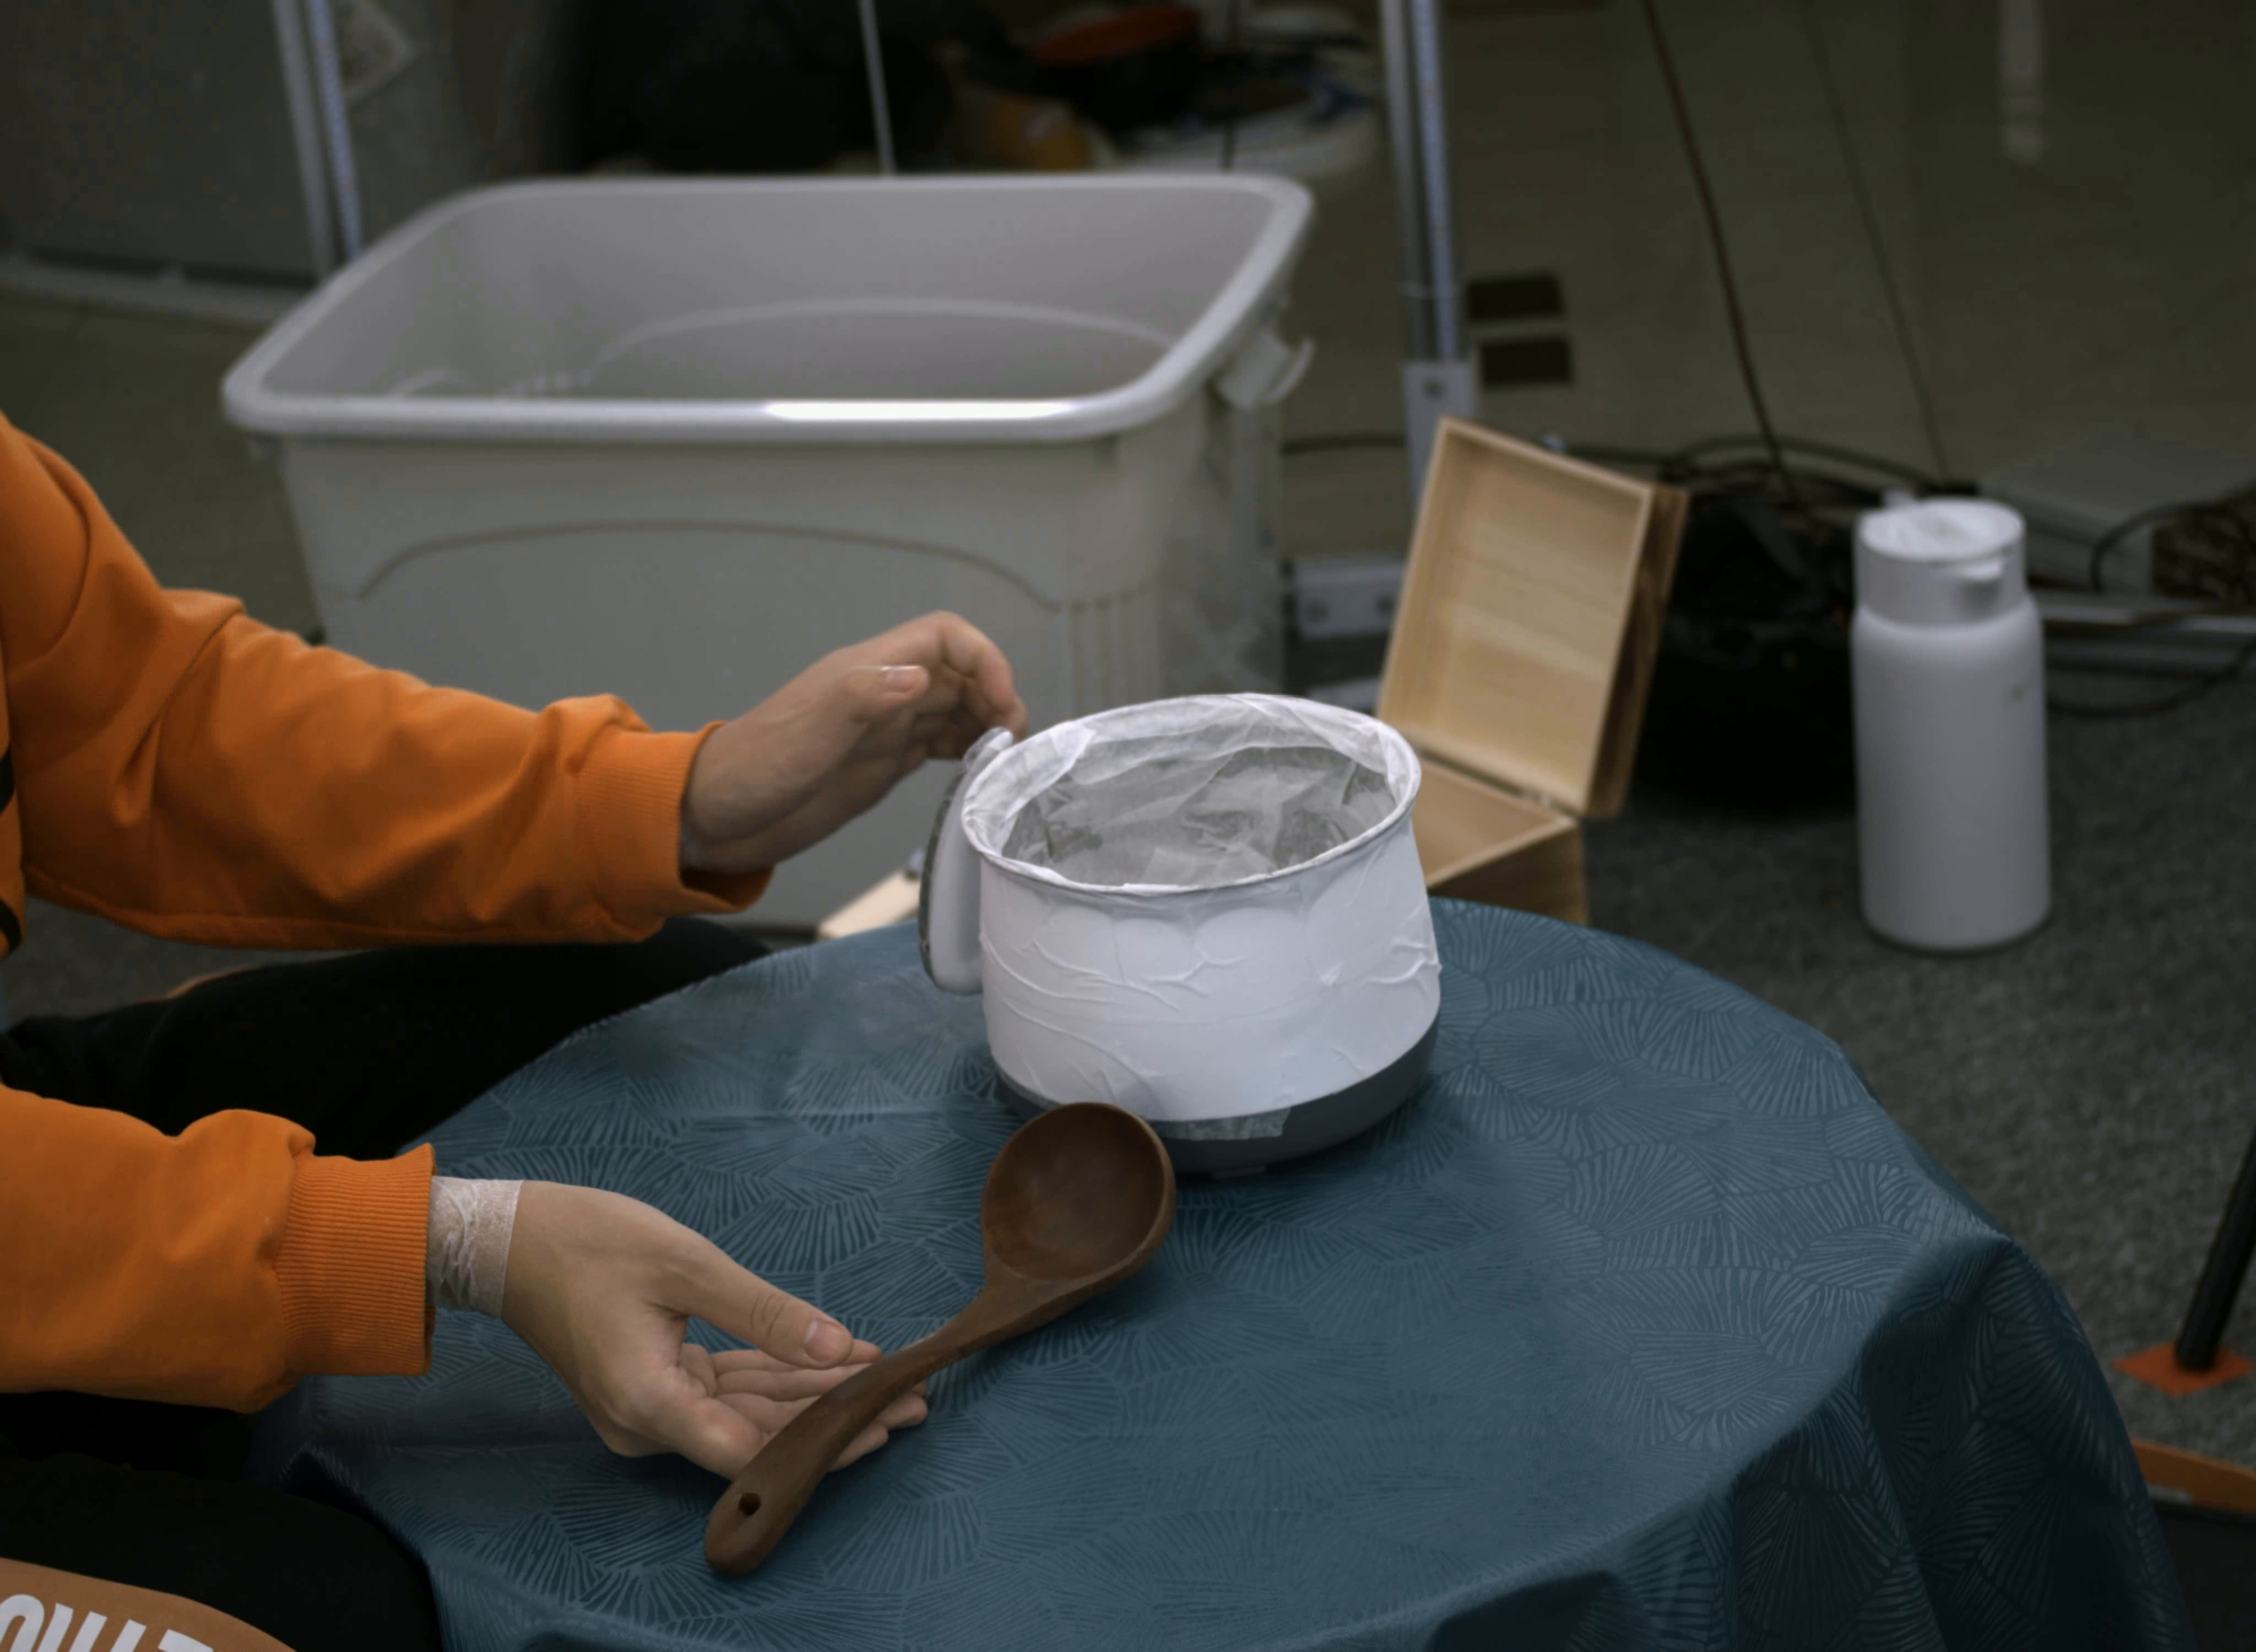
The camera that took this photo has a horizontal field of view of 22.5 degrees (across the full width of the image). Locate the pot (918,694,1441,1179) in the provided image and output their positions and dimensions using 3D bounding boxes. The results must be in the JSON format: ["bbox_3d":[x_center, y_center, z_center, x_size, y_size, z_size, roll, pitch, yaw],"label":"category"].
[{"bbox_3d":[0.009,0.038,2.197,0.232,0.139,0.177,14,32,37],"label":"pot"}]

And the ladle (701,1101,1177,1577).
[{"bbox_3d":[-0.071,0.177,2.006,0.076,0.066,0.257,11,29,33],"label":"ladle"}]
